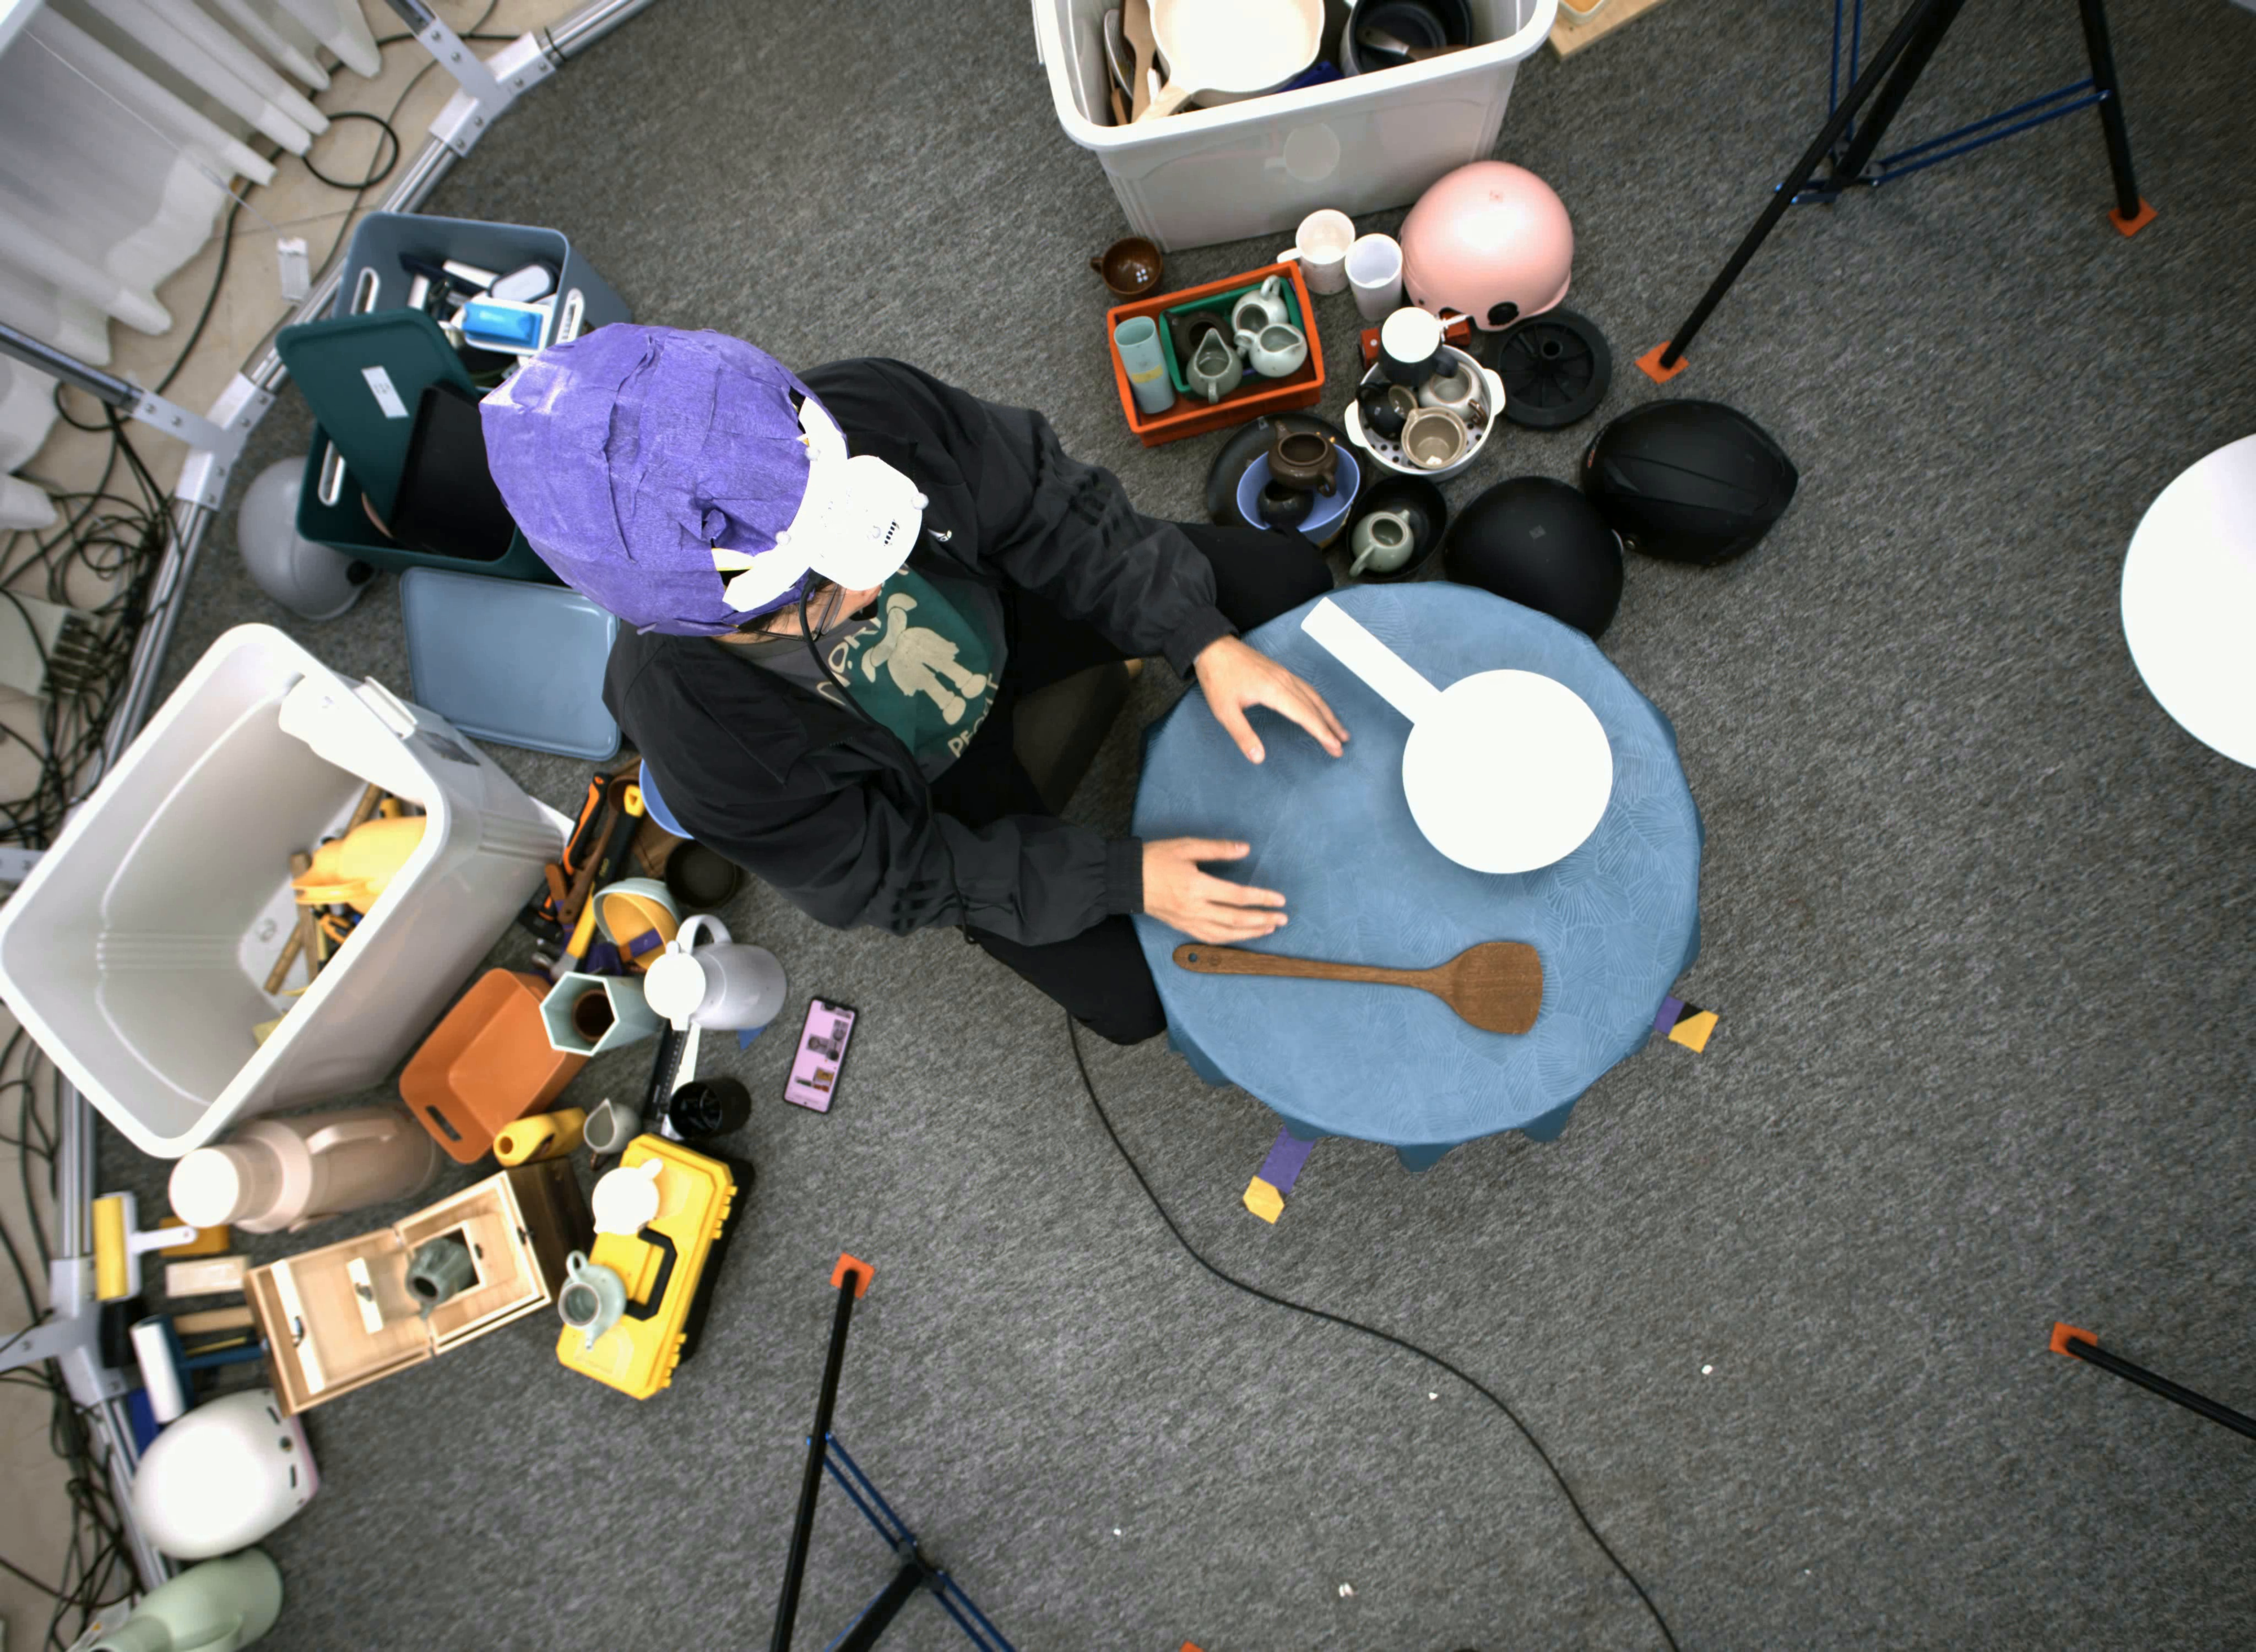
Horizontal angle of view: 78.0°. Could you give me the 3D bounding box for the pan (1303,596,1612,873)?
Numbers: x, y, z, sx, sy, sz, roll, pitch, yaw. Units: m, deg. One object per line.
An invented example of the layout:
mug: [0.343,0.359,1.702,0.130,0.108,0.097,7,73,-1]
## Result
pan: [0.325,-0.103,1.409,0.353,0.102,0.202,42,95,12]

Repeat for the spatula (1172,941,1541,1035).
spatula: [0.236,0.153,1.453,0.387,0.016,0.096,4,87,11]
